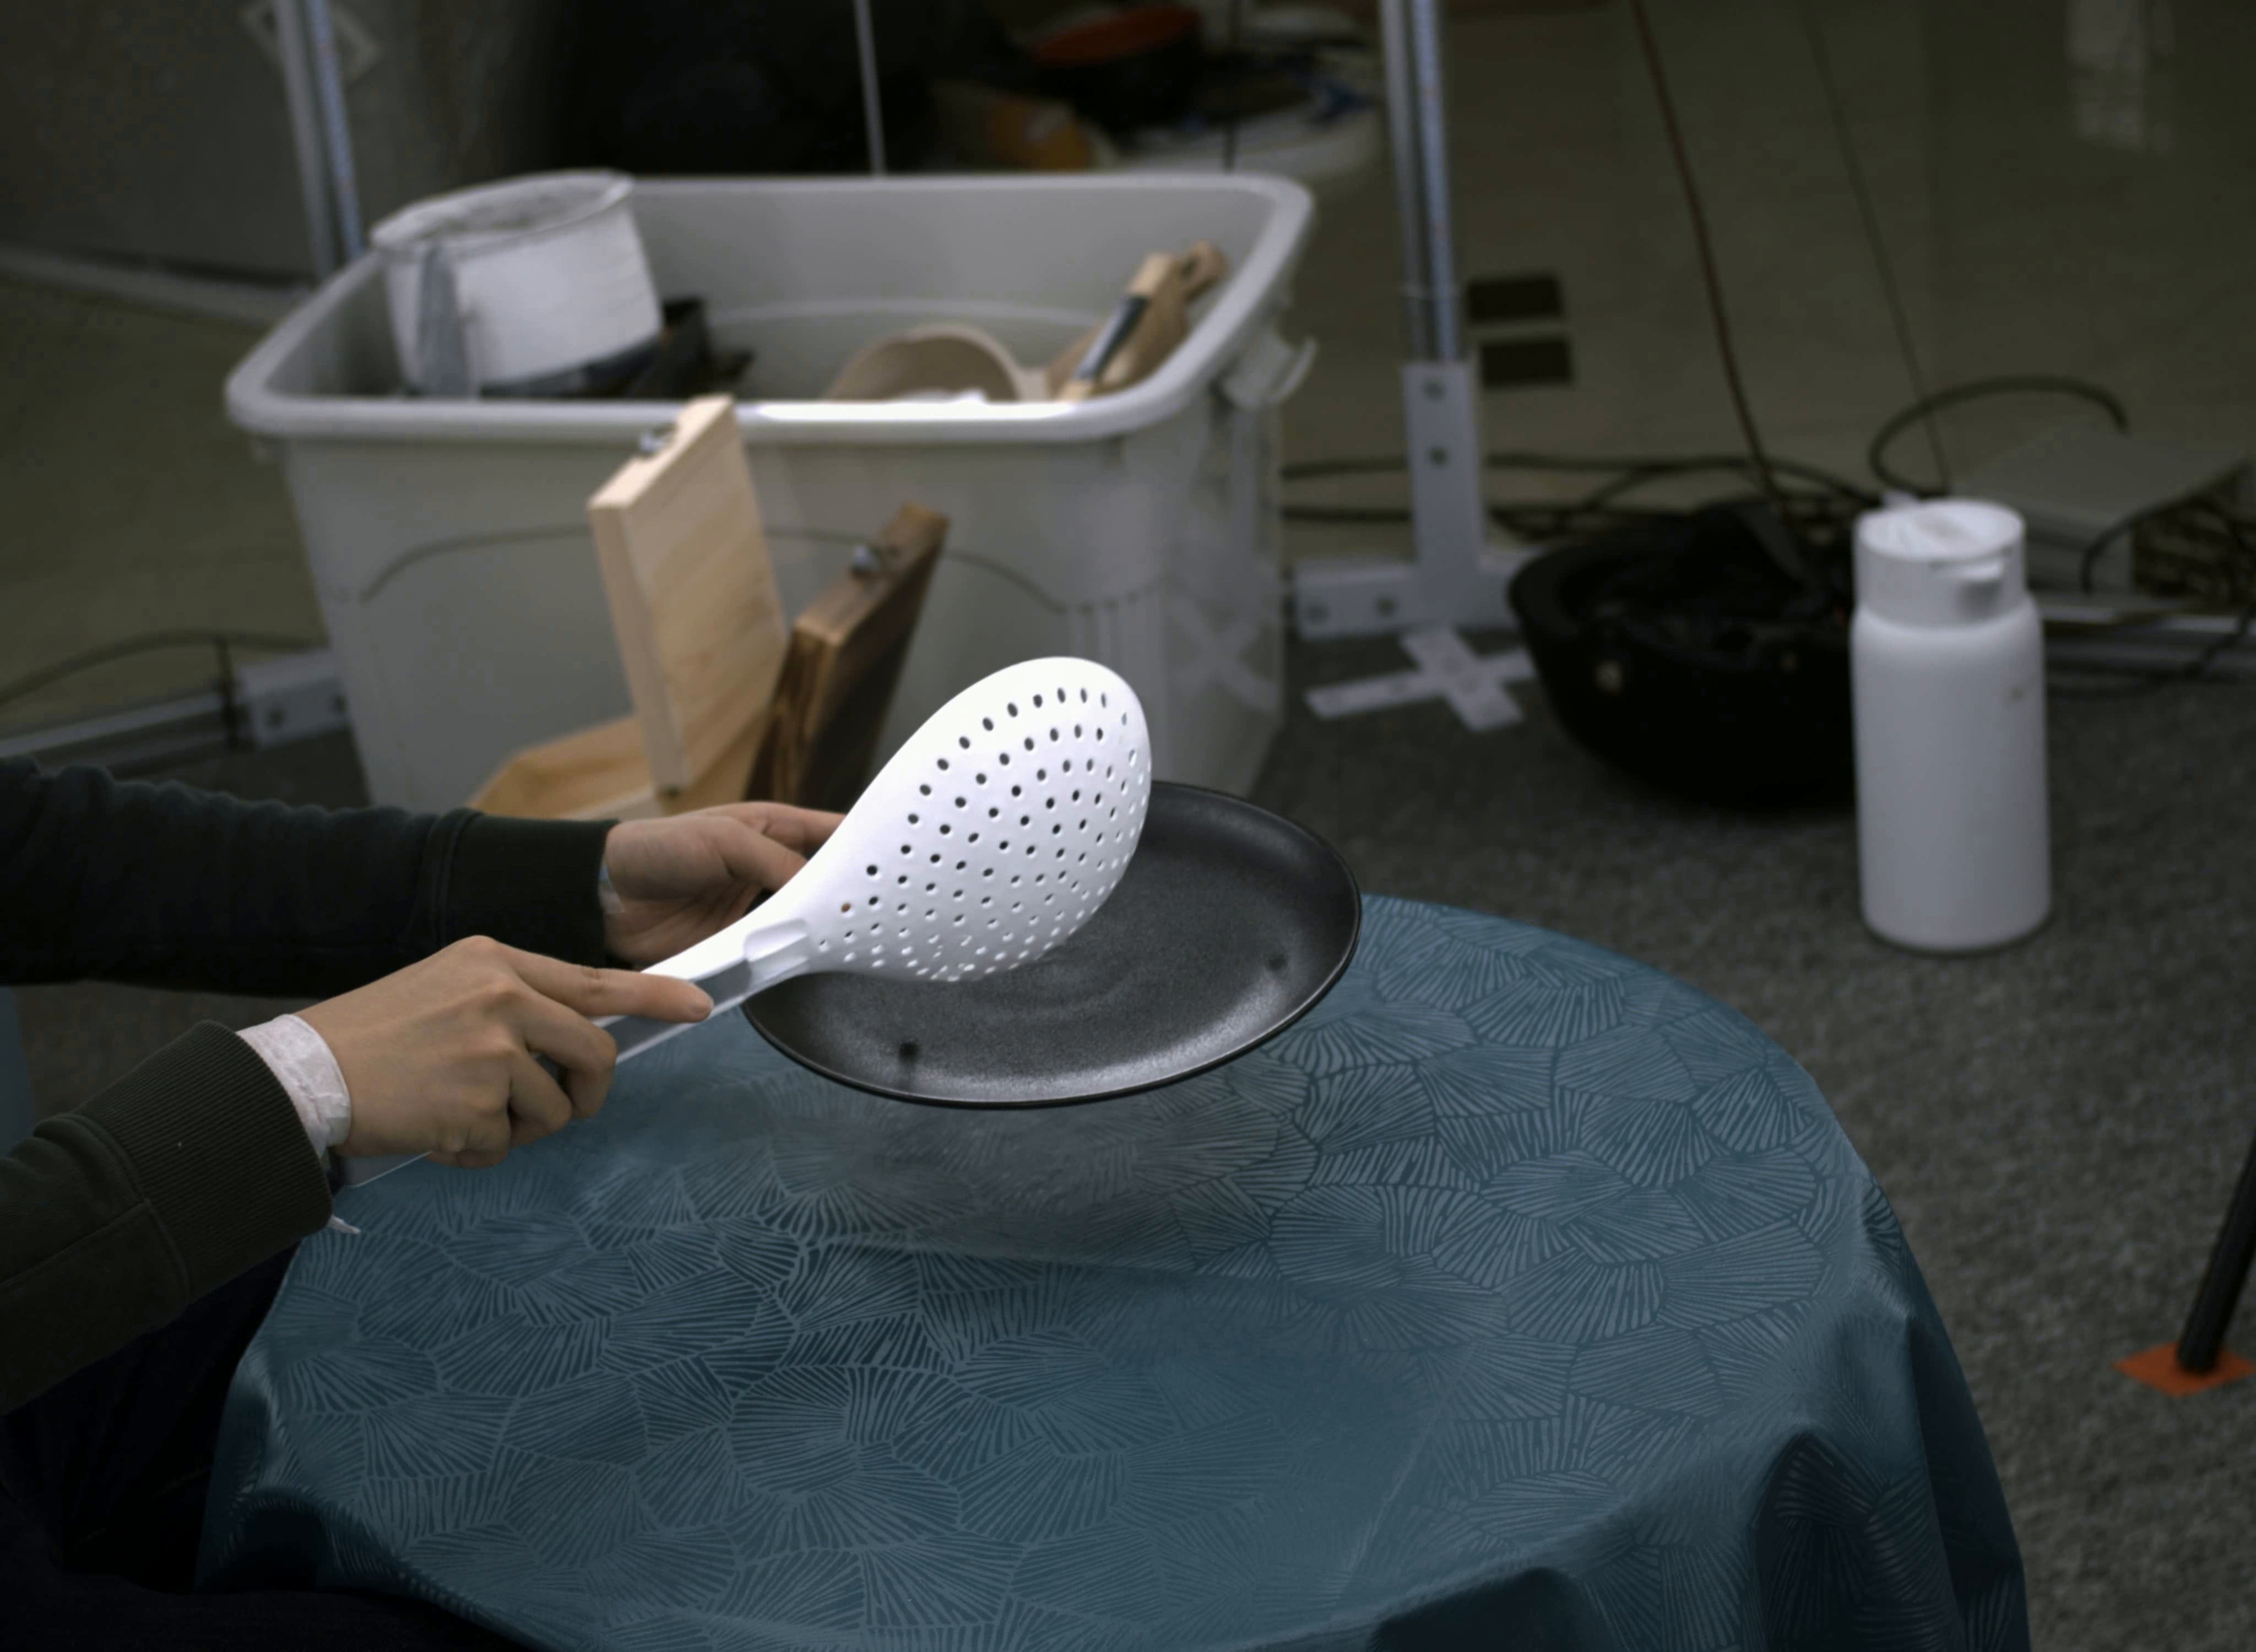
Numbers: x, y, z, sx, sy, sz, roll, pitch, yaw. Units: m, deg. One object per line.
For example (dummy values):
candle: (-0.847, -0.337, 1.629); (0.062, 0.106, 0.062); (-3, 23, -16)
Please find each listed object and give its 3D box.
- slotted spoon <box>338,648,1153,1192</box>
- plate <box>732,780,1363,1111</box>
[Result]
slotted spoon: (-0.128, 0.043, 2.010); (0.347, 0.139, 0.045); (-23, 44, -23)
plate: (-0.031, 0.050, 2.165); (0.244, 0.024, 0.240); (-4, 30, 2)
